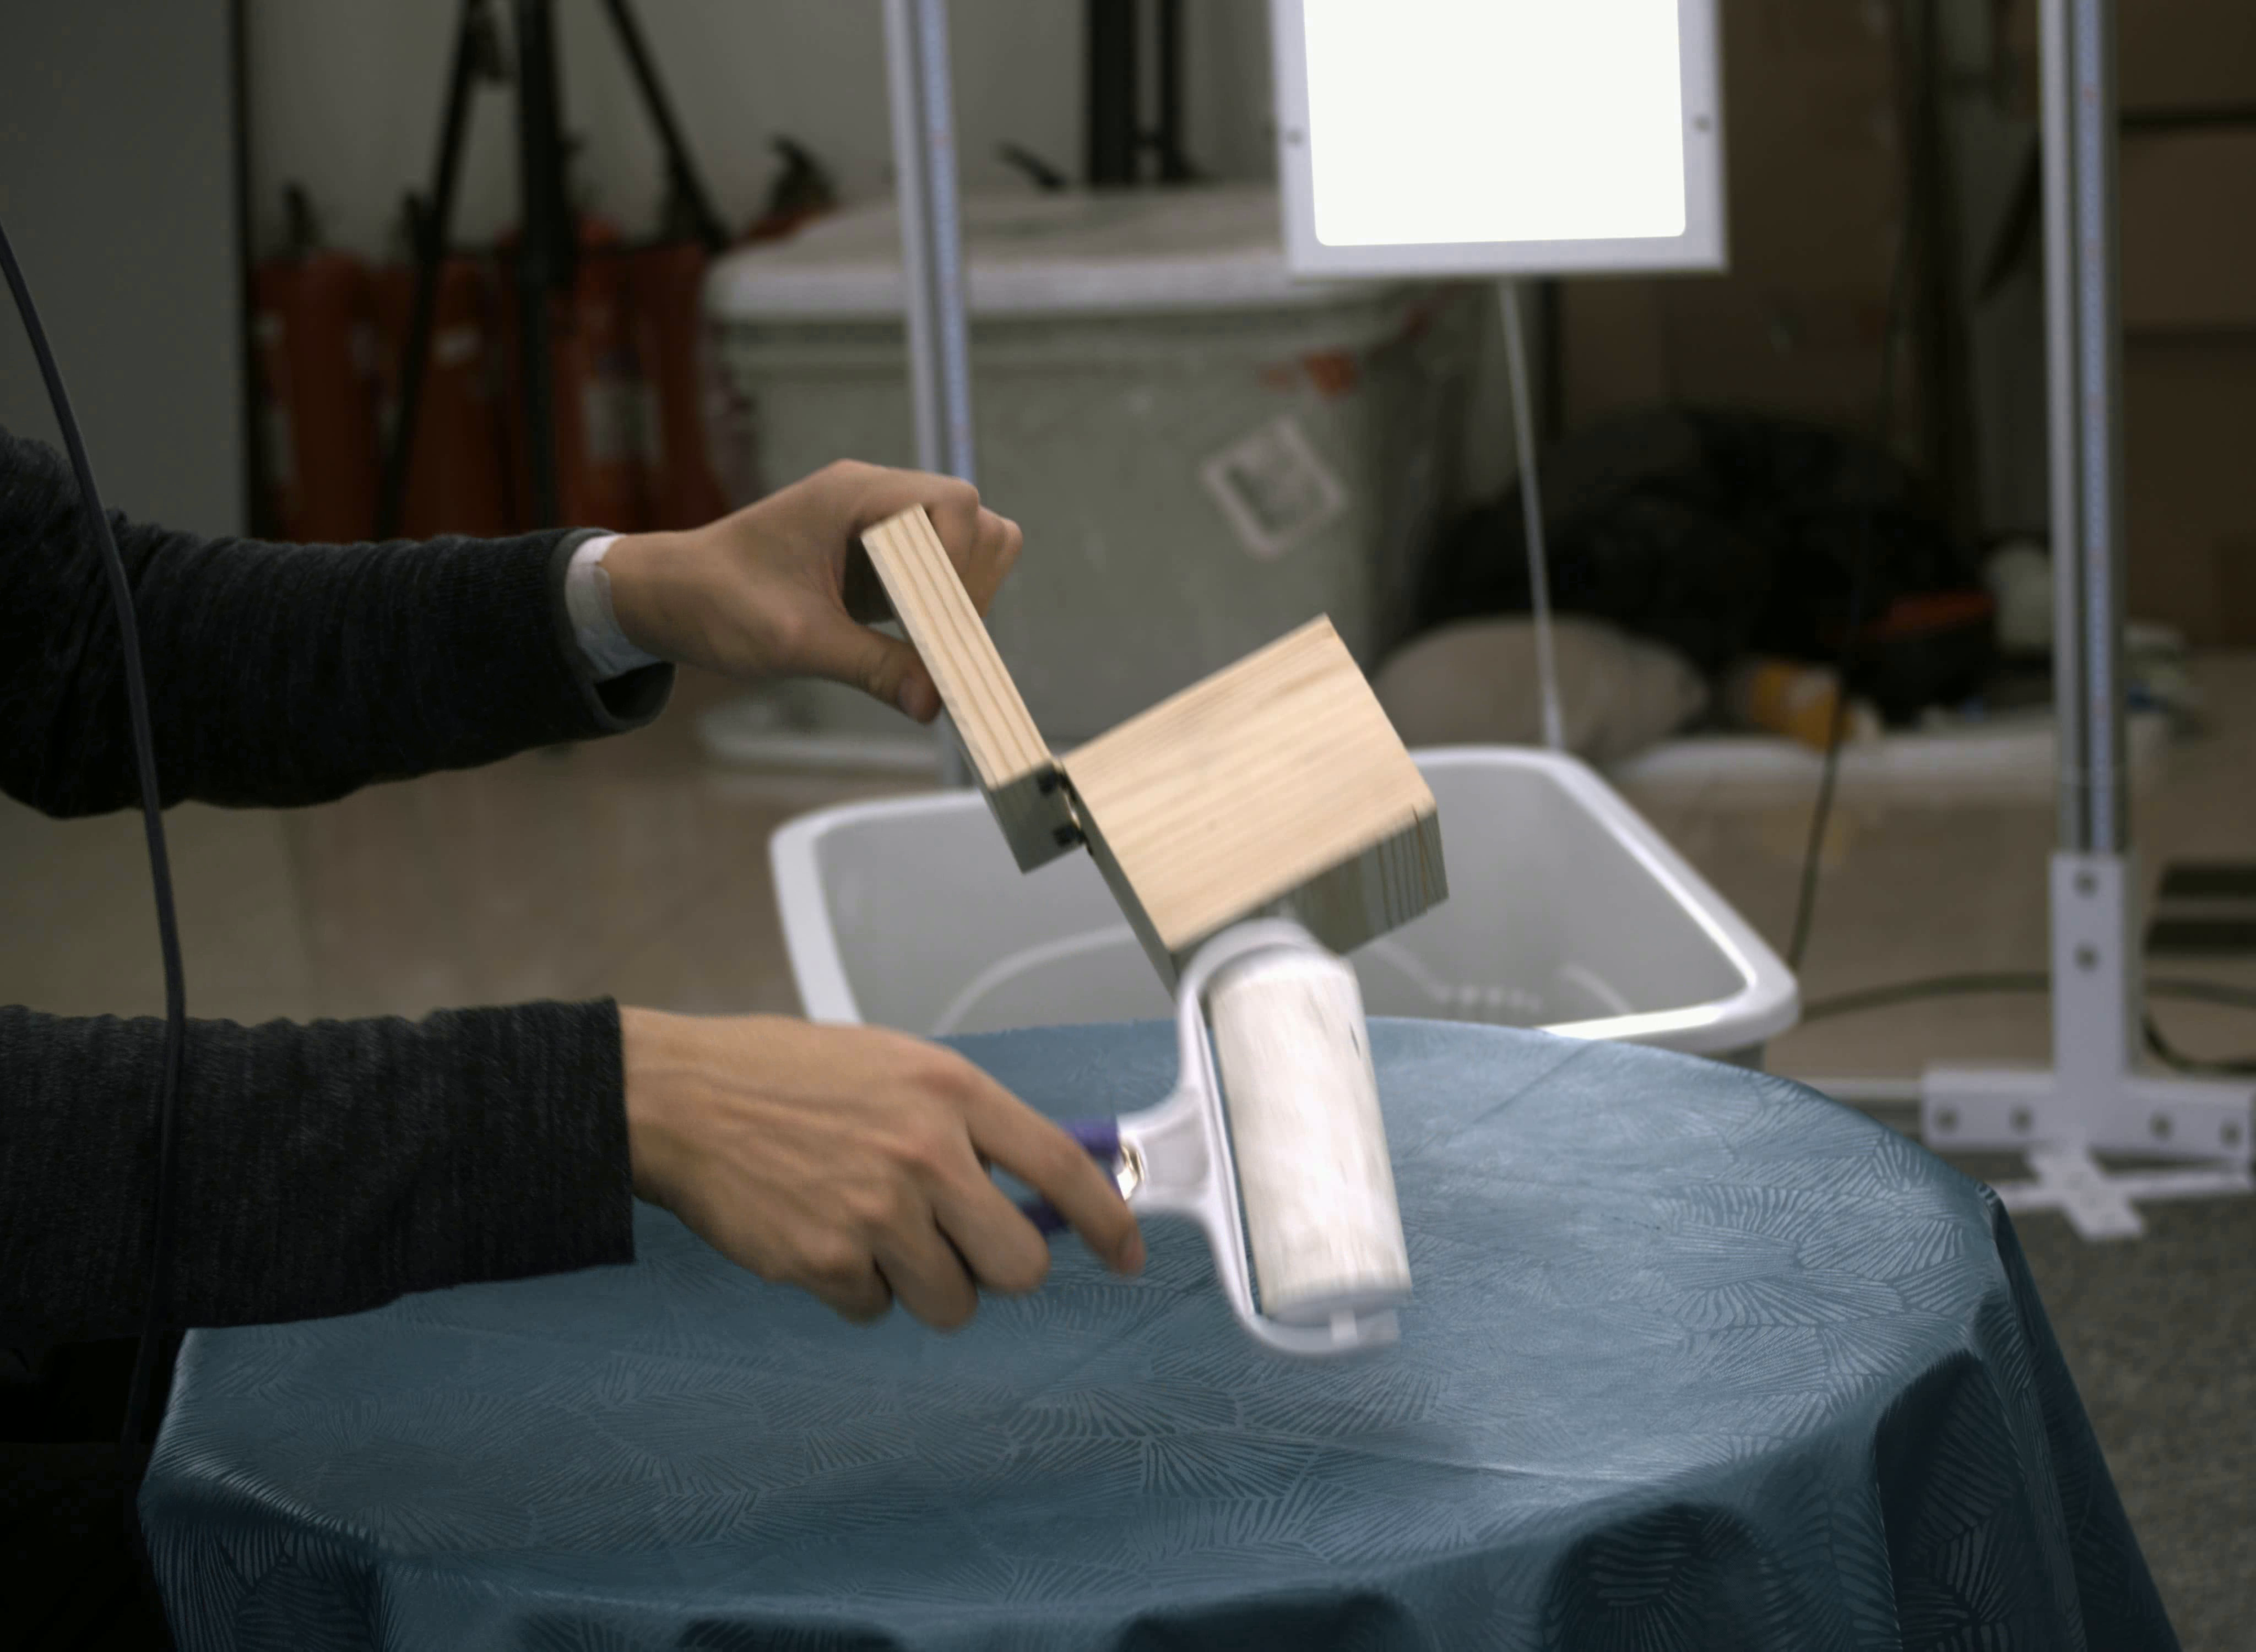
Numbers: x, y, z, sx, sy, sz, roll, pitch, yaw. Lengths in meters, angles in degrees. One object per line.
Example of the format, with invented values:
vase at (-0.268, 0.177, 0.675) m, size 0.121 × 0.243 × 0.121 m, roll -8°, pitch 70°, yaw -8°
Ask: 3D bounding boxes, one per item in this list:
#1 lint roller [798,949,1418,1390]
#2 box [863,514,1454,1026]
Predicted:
lint roller at (-0.007, 0.105, 1.637) m, size 0.178 × 0.133 × 0.051 m, roll -2°, pitch -18°, yaw -13°
box at (0.012, -0.036, 1.855) m, size 0.133 × 0.185 × 0.102 m, roll -29°, pitch -18°, yaw -2°
